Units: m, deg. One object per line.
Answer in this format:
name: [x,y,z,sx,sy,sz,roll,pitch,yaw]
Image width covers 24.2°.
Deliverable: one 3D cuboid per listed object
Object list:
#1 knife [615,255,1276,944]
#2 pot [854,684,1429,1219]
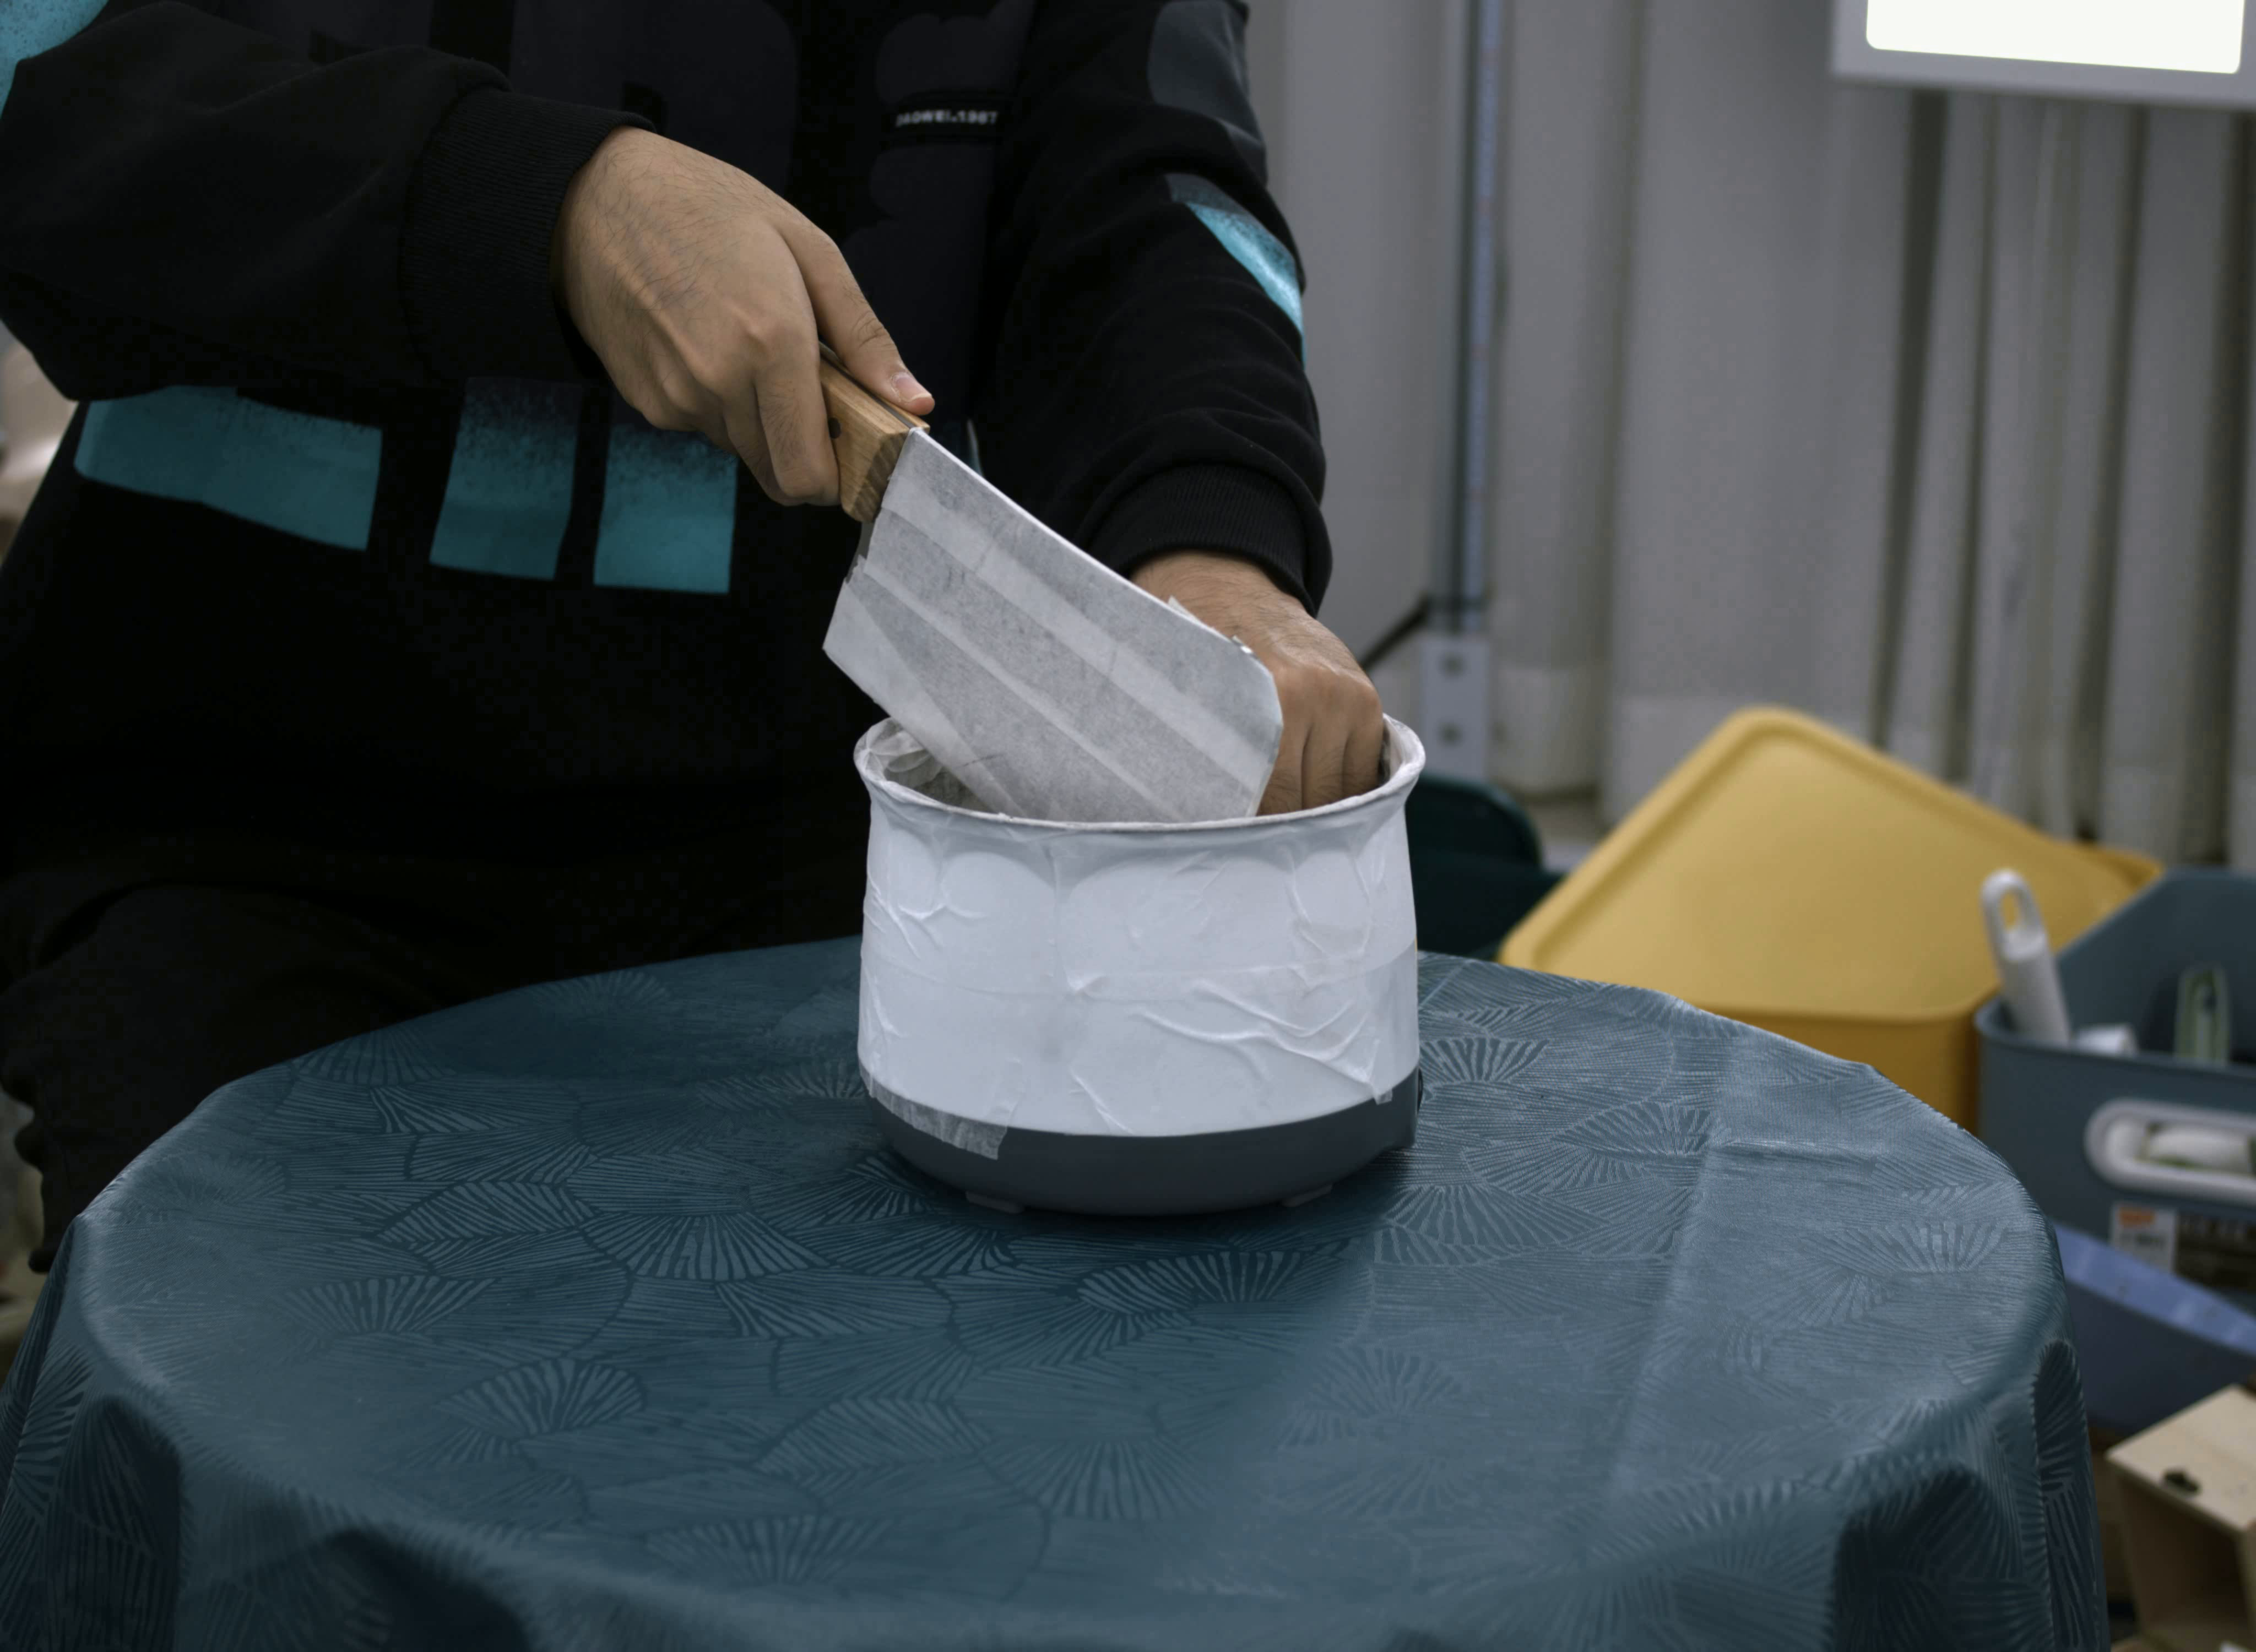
knife: [-0.060,-0.084,1.629,0.022,0.114,0.311,-11,44,-46]
pot: [0.001,0.029,1.664,0.178,0.138,0.232,-1,17,-6]
